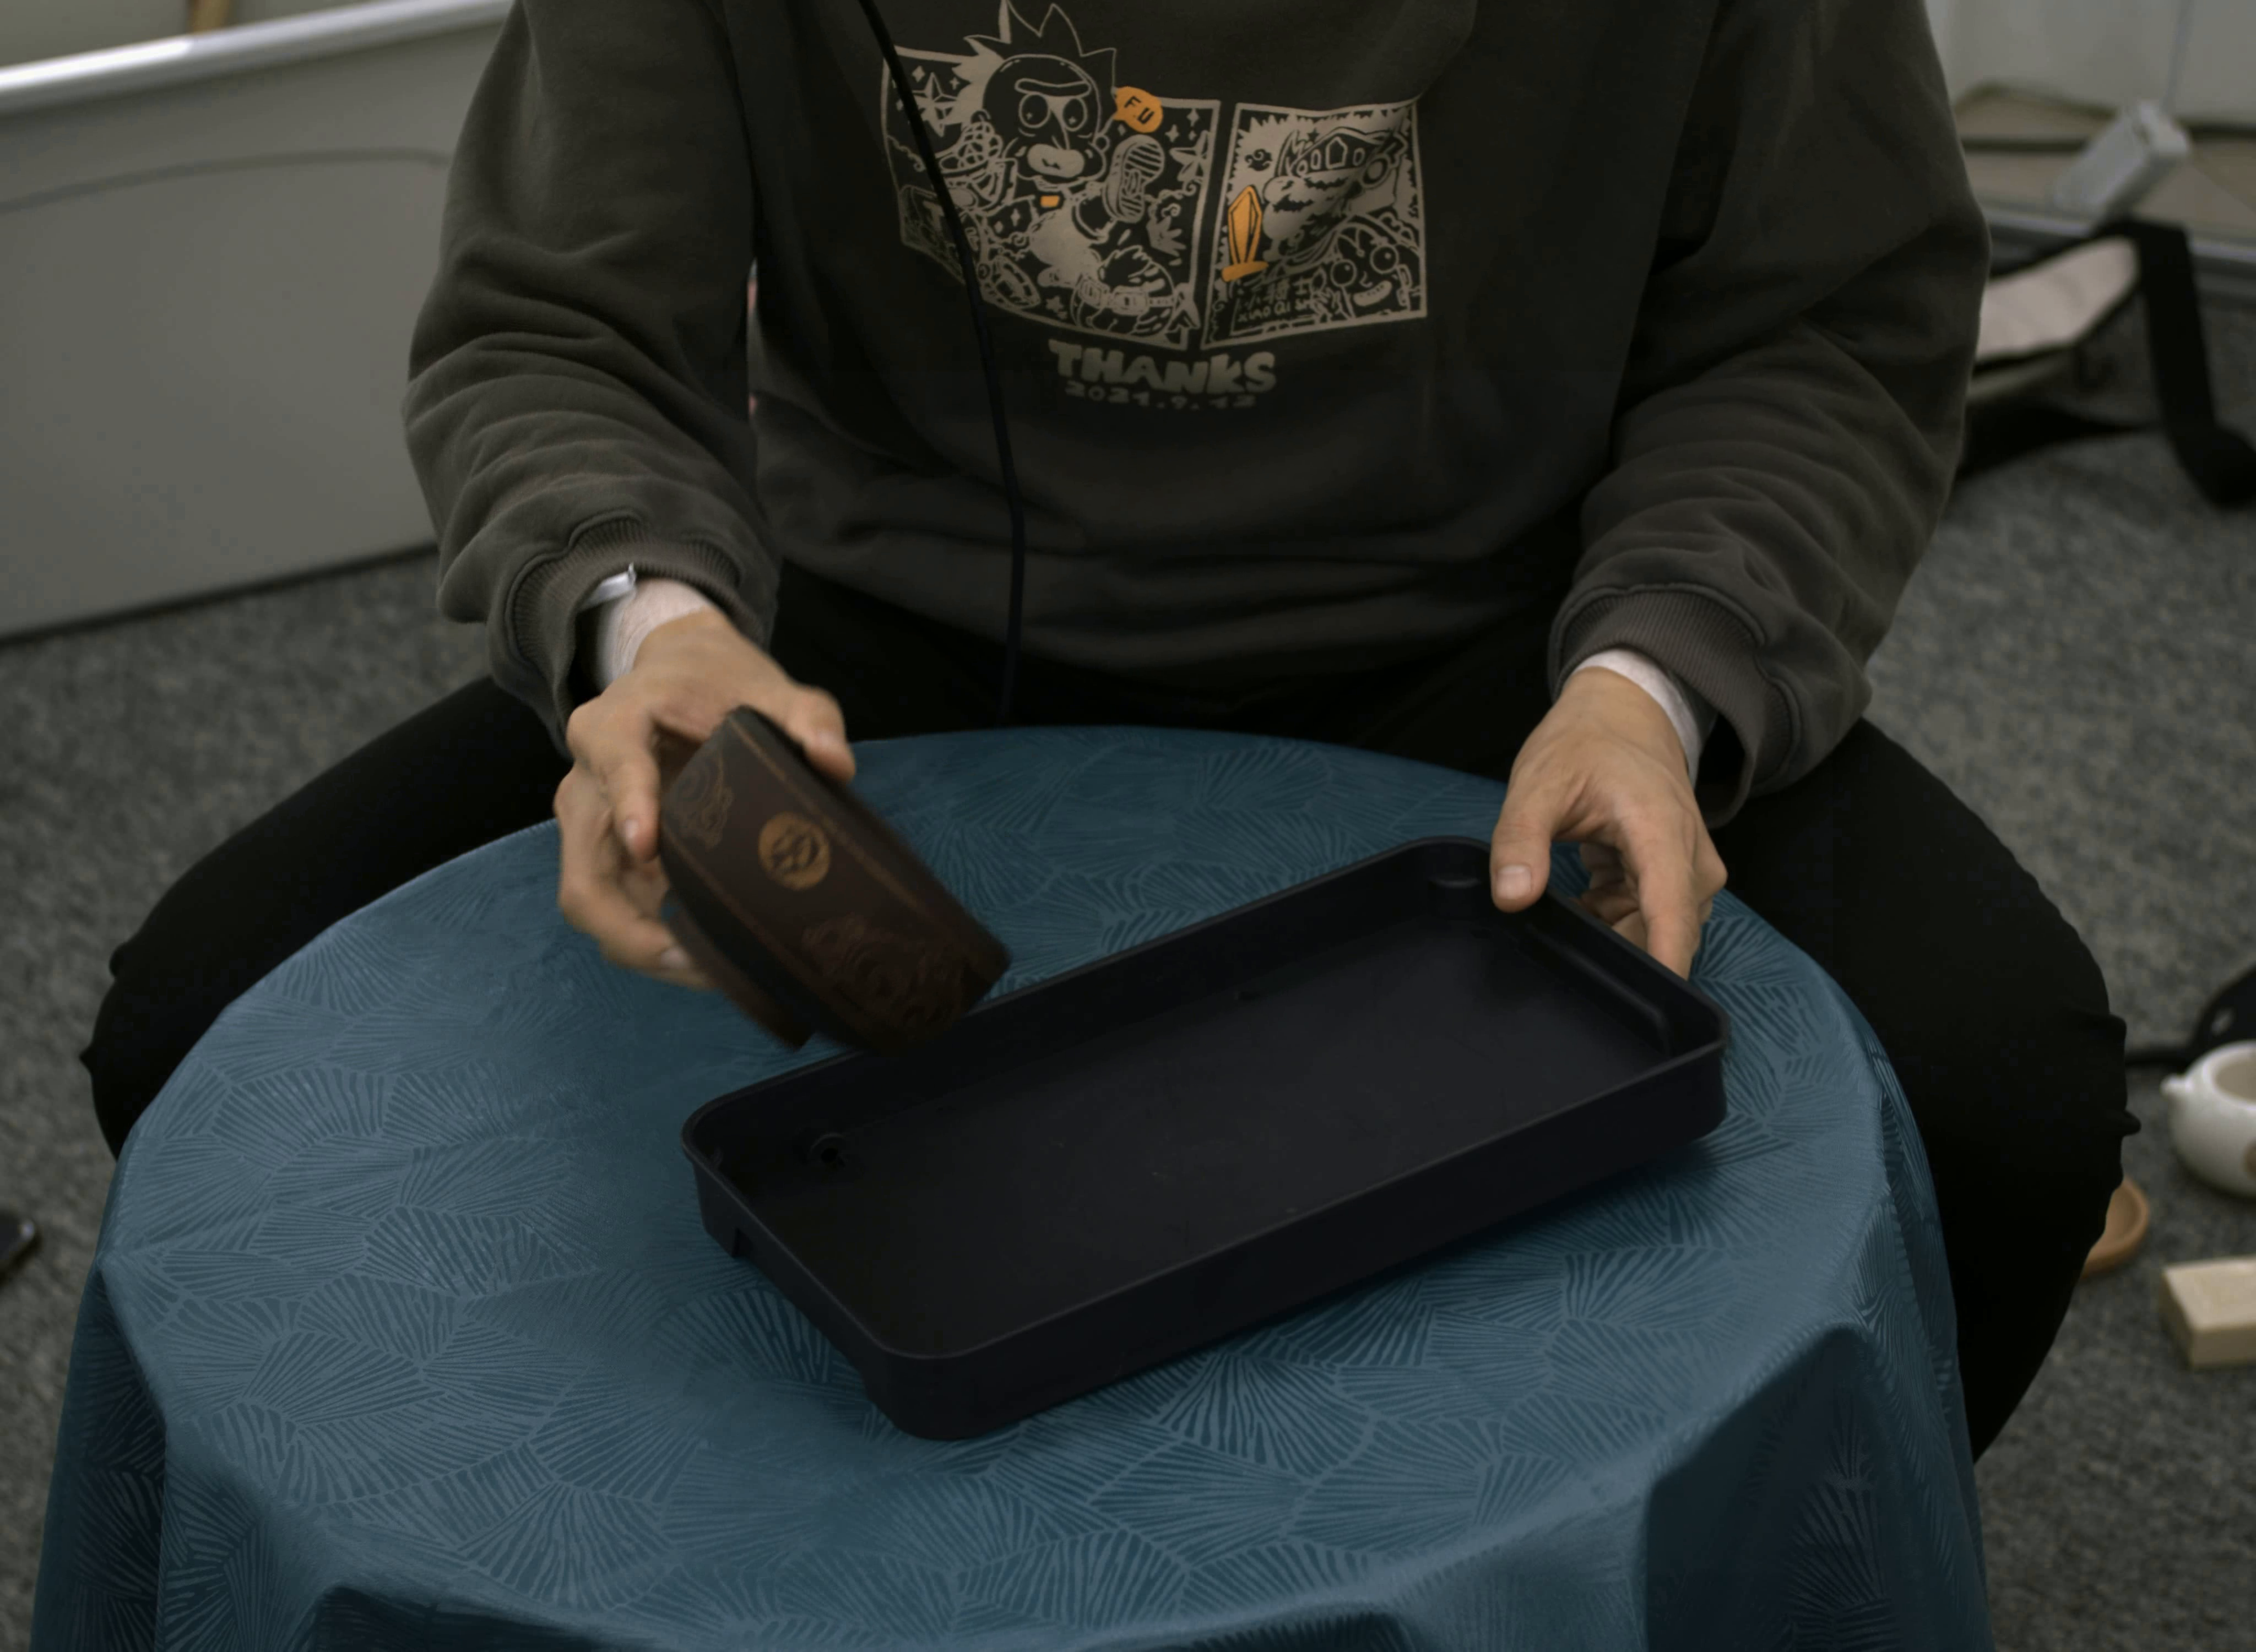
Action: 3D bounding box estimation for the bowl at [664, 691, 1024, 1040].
[{"bbox_3d":[-0.097,0.022,1.748,0.070,0.117,0.119,-48,37,-1],"label":"bowl"}]

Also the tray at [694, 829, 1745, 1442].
[{"bbox_3d":[0.032,0.096,1.854,0.320,0.036,0.185,-21,31,-25],"label":"tray"}]
